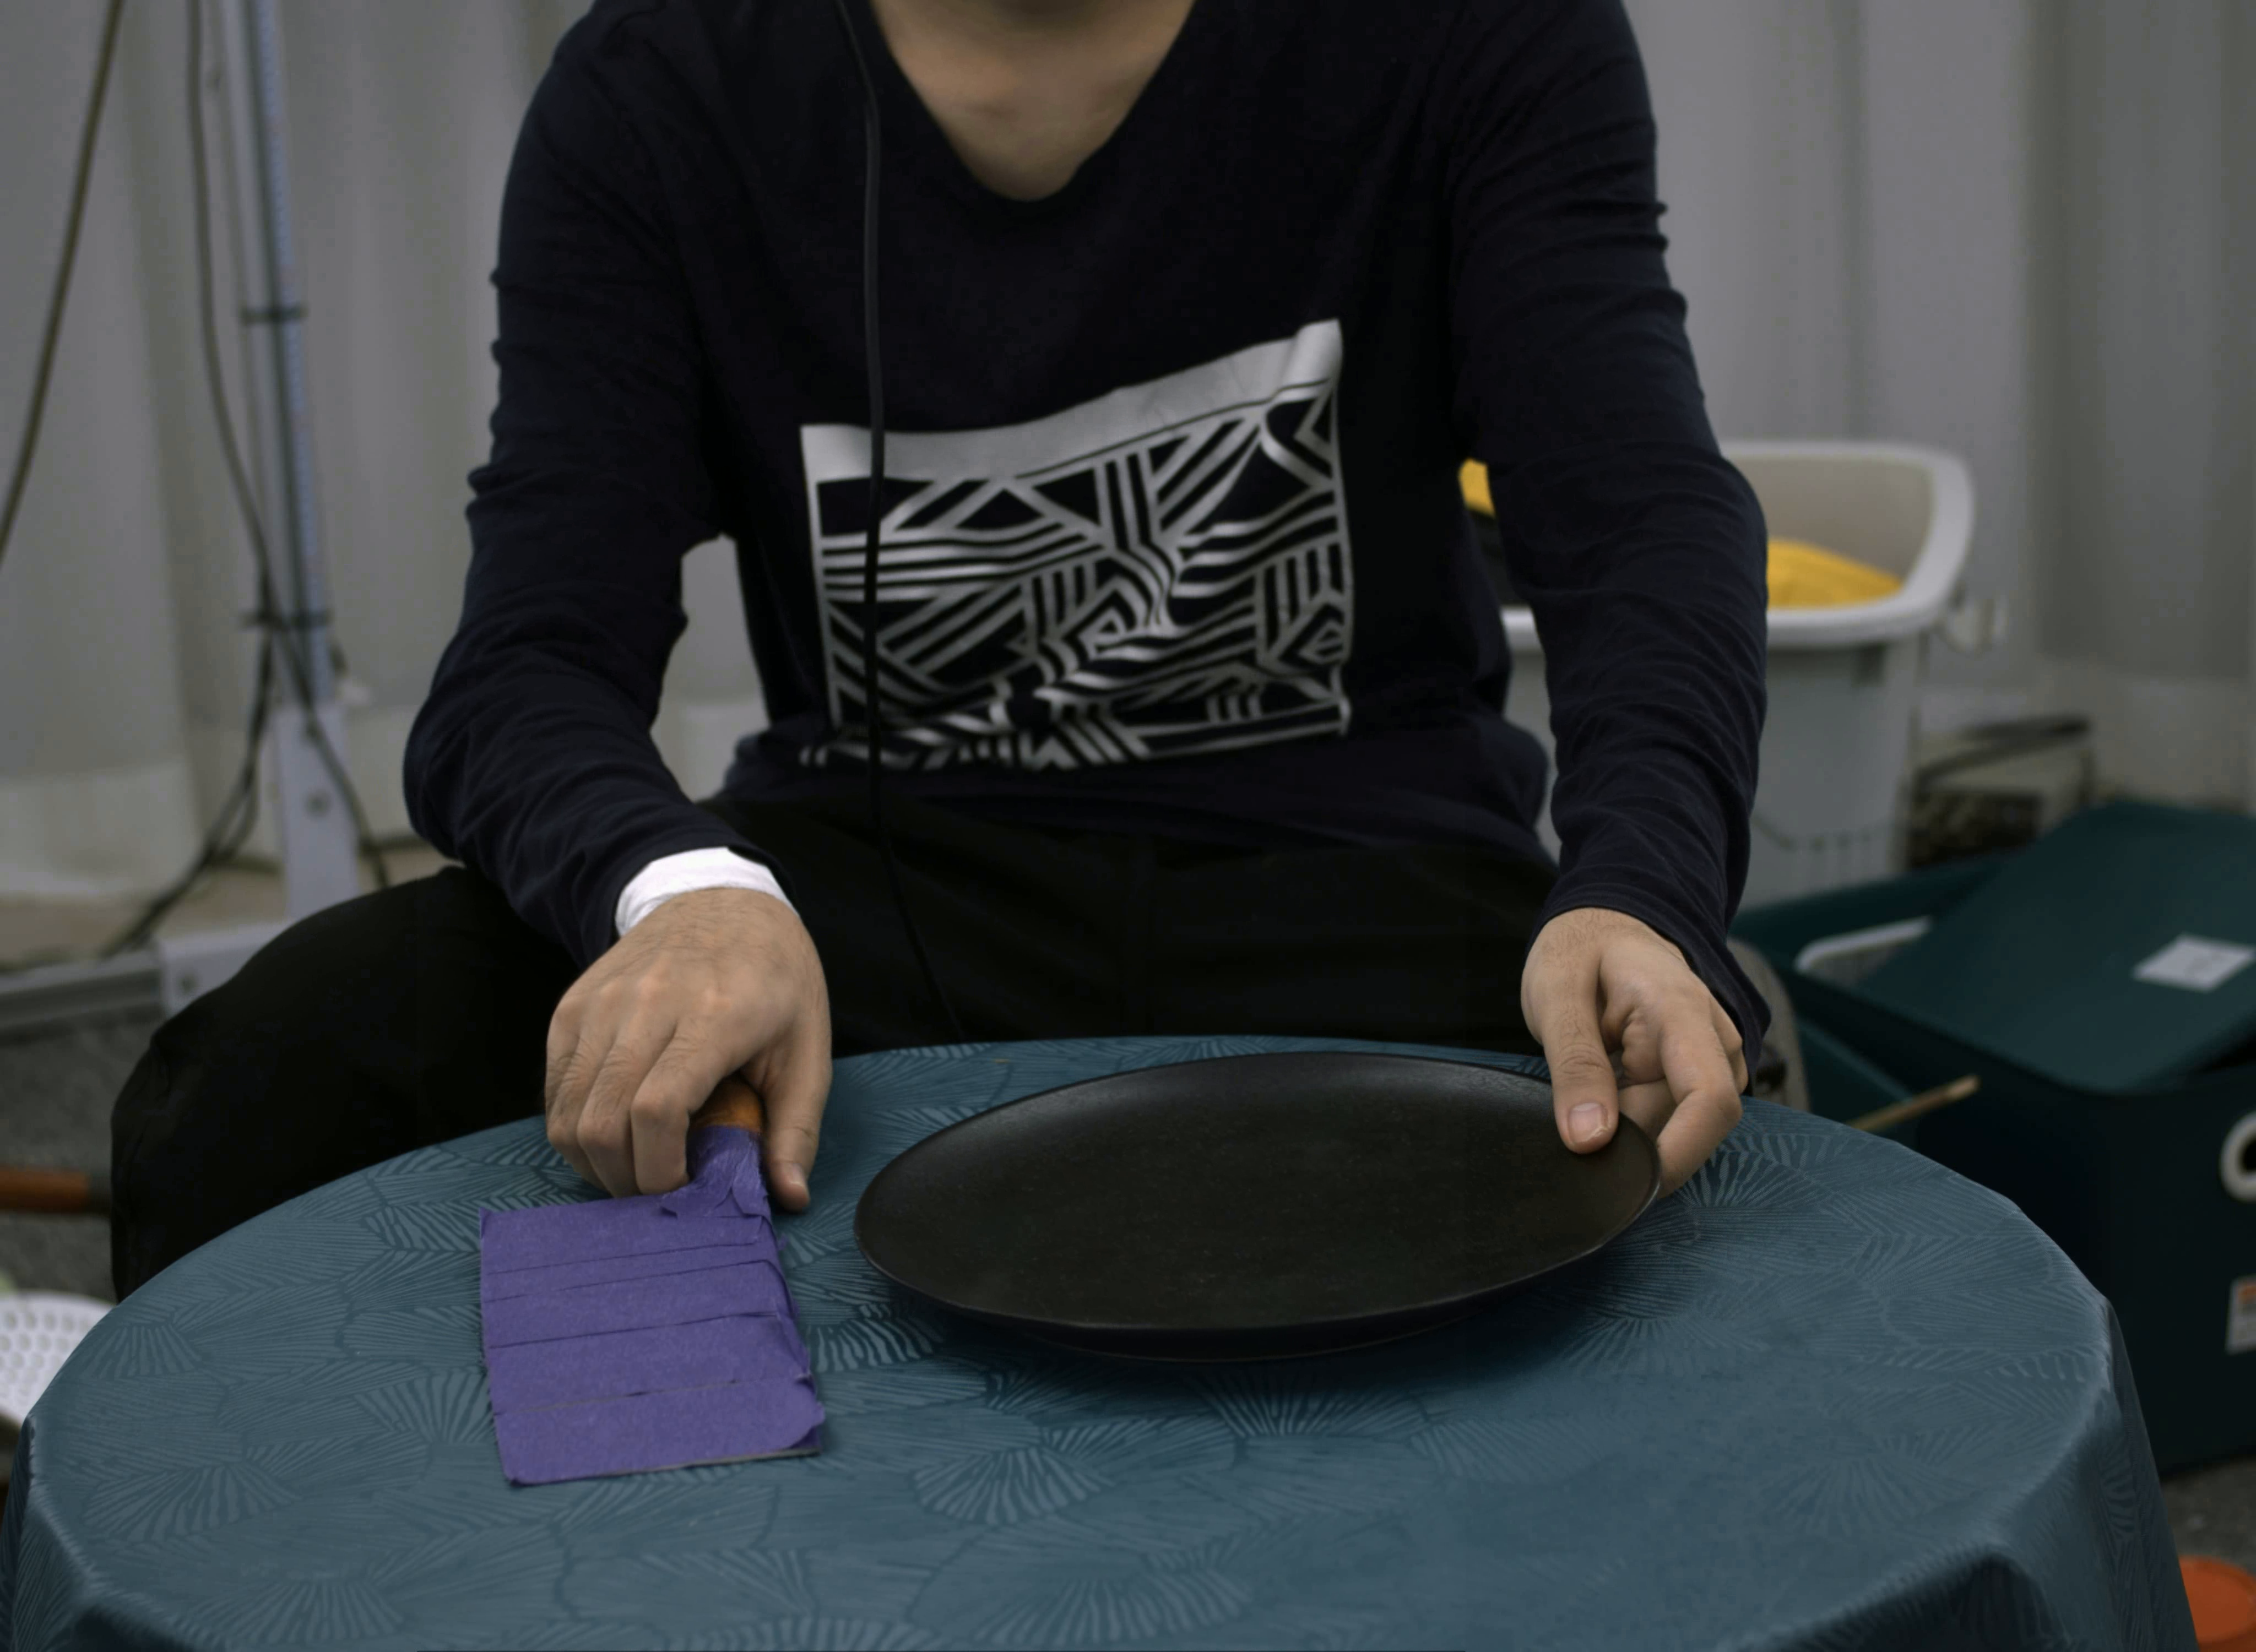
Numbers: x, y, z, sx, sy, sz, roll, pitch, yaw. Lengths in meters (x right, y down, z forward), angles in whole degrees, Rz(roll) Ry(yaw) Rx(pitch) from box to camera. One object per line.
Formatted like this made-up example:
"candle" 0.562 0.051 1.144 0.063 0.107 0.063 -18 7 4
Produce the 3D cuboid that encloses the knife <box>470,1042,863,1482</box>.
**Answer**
"knife" -0.148 0.127 1.647 0.103 0.032 0.318 -5 15 -8

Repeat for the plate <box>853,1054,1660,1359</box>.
"plate" 0.039 0.117 1.645 0.243 0.023 0.246 -5 16 1
